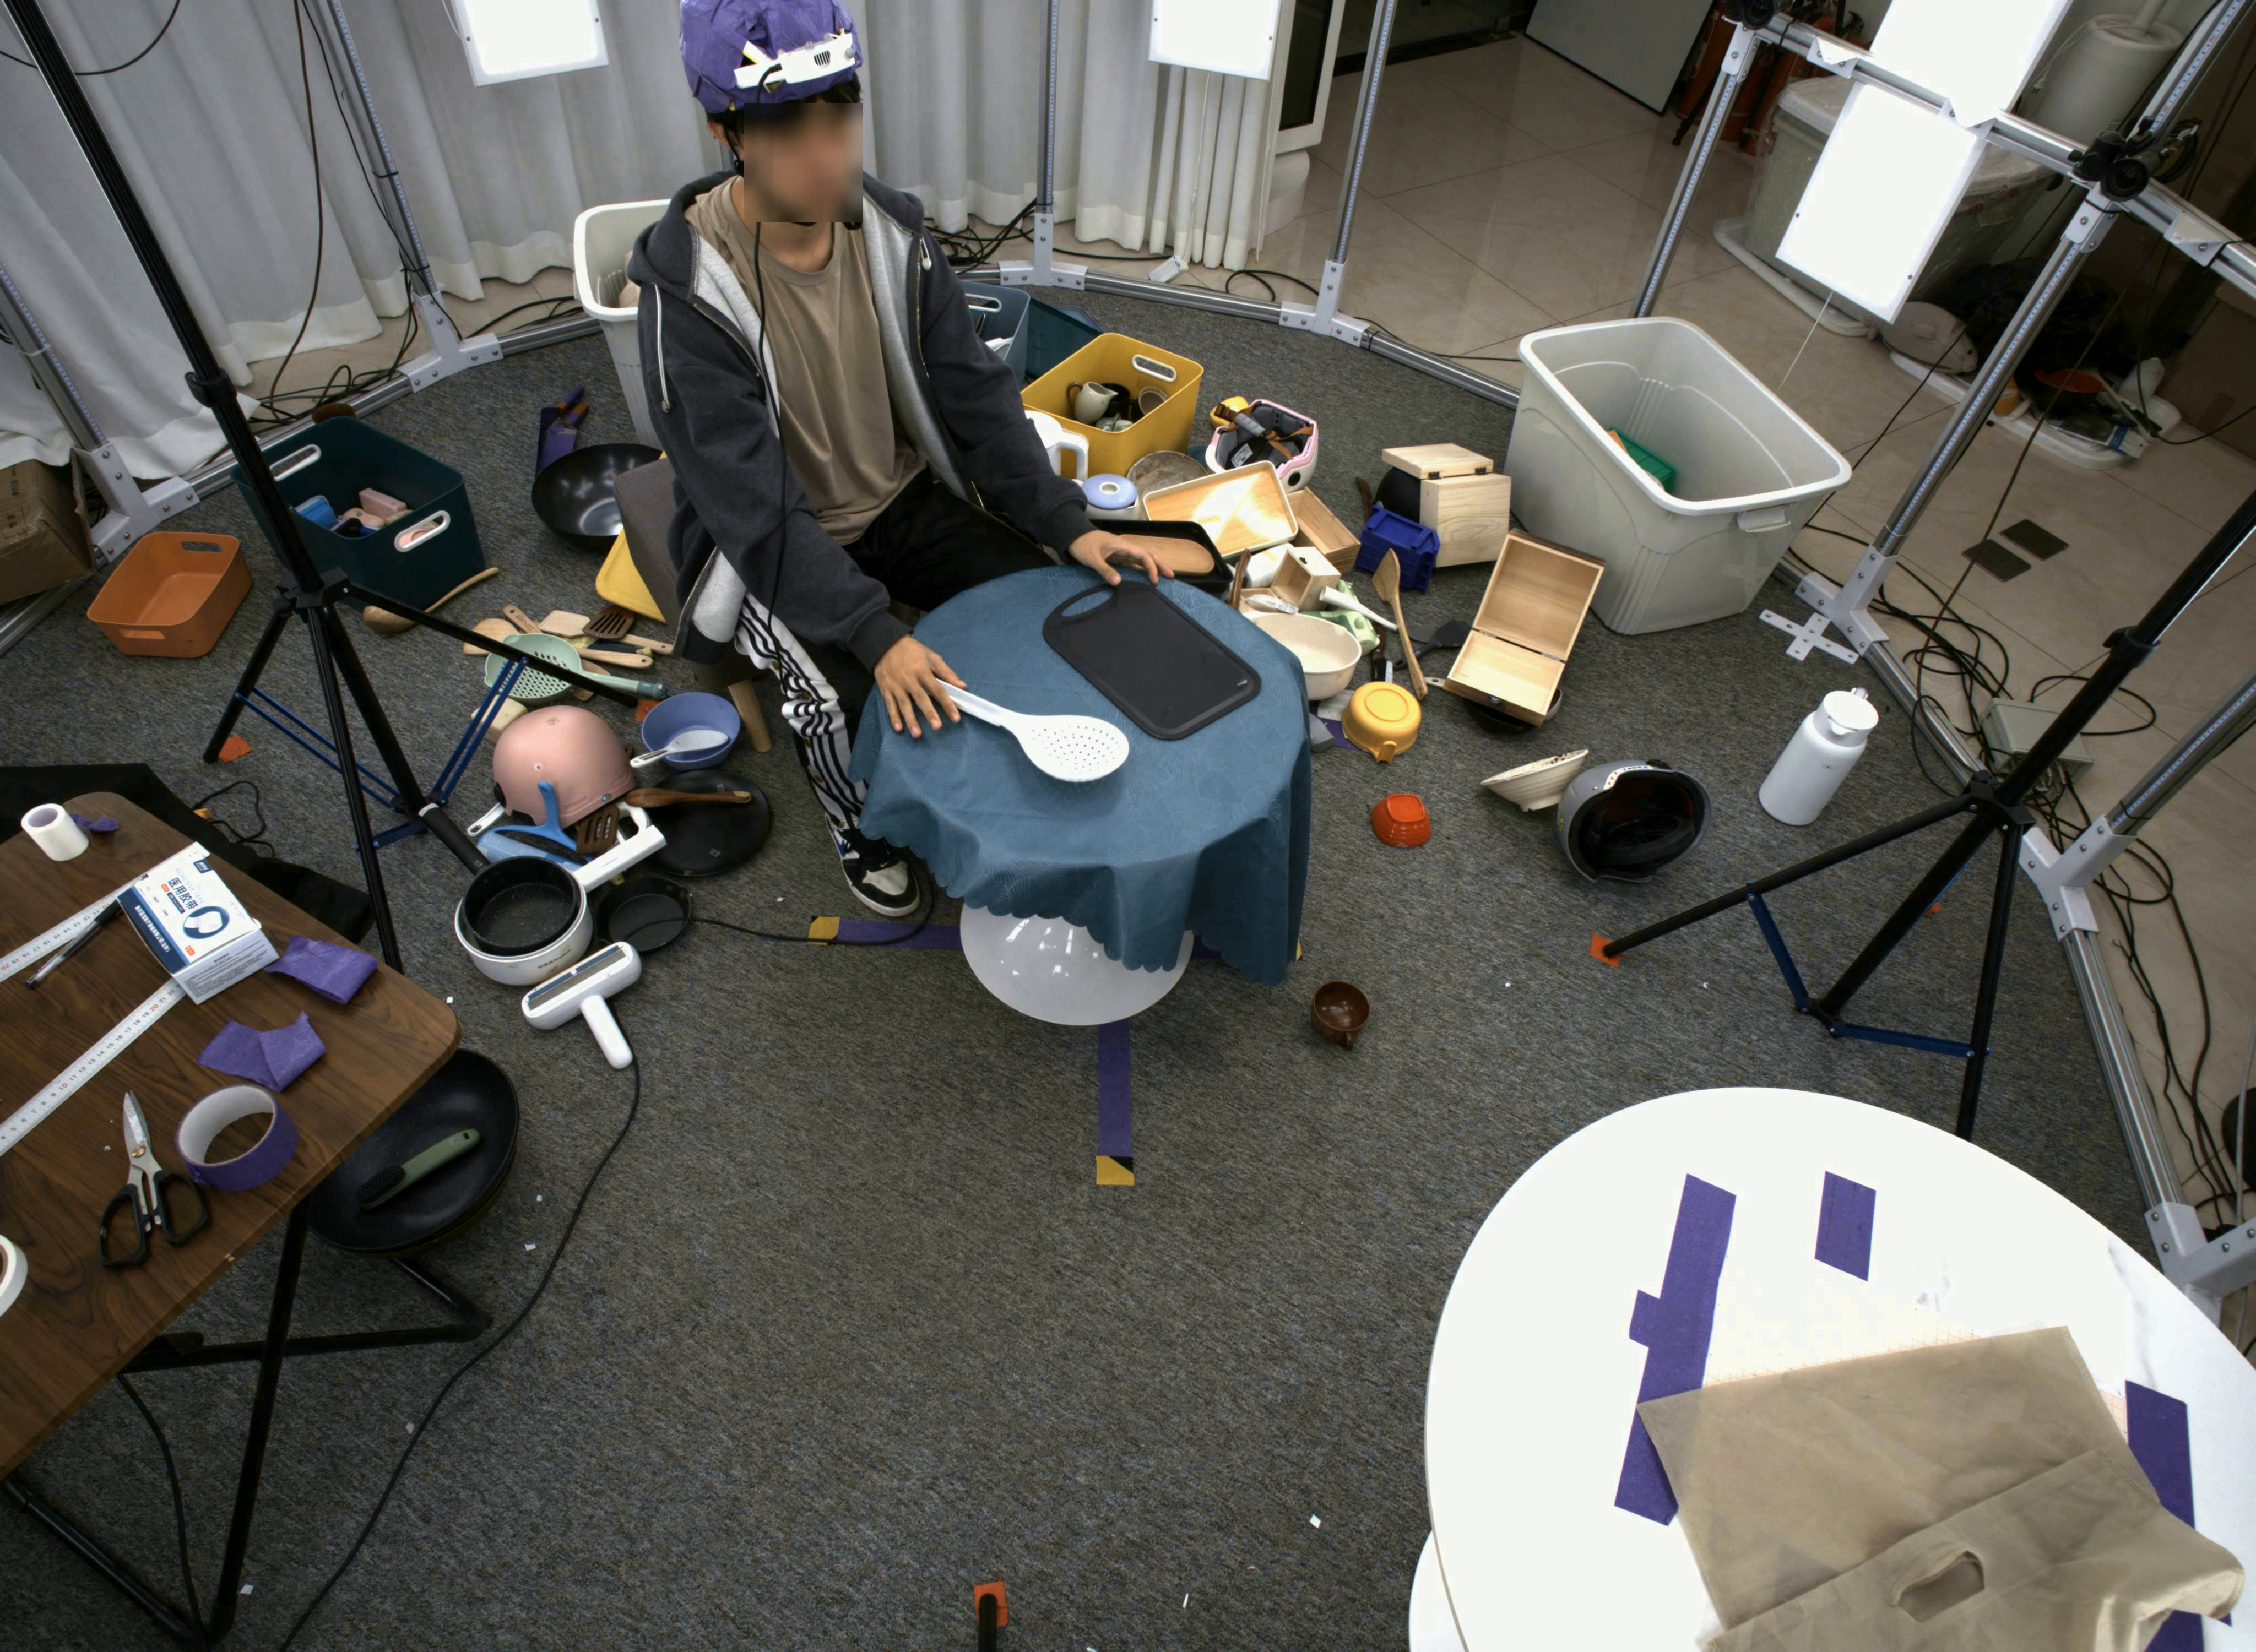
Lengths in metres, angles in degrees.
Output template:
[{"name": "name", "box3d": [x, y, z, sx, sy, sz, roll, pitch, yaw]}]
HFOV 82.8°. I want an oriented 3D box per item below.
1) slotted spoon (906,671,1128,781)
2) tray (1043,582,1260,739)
[{"name": "slotted spoon", "box3d": [-0.159, -0.143, 1.748, 0.353, 0.045, 0.138, 28, 42, 20]}, {"name": "tray", "box3d": [0.026, -0.255, 1.885, 0.212, 0.009, 0.331, -30, 57, -26]}]
